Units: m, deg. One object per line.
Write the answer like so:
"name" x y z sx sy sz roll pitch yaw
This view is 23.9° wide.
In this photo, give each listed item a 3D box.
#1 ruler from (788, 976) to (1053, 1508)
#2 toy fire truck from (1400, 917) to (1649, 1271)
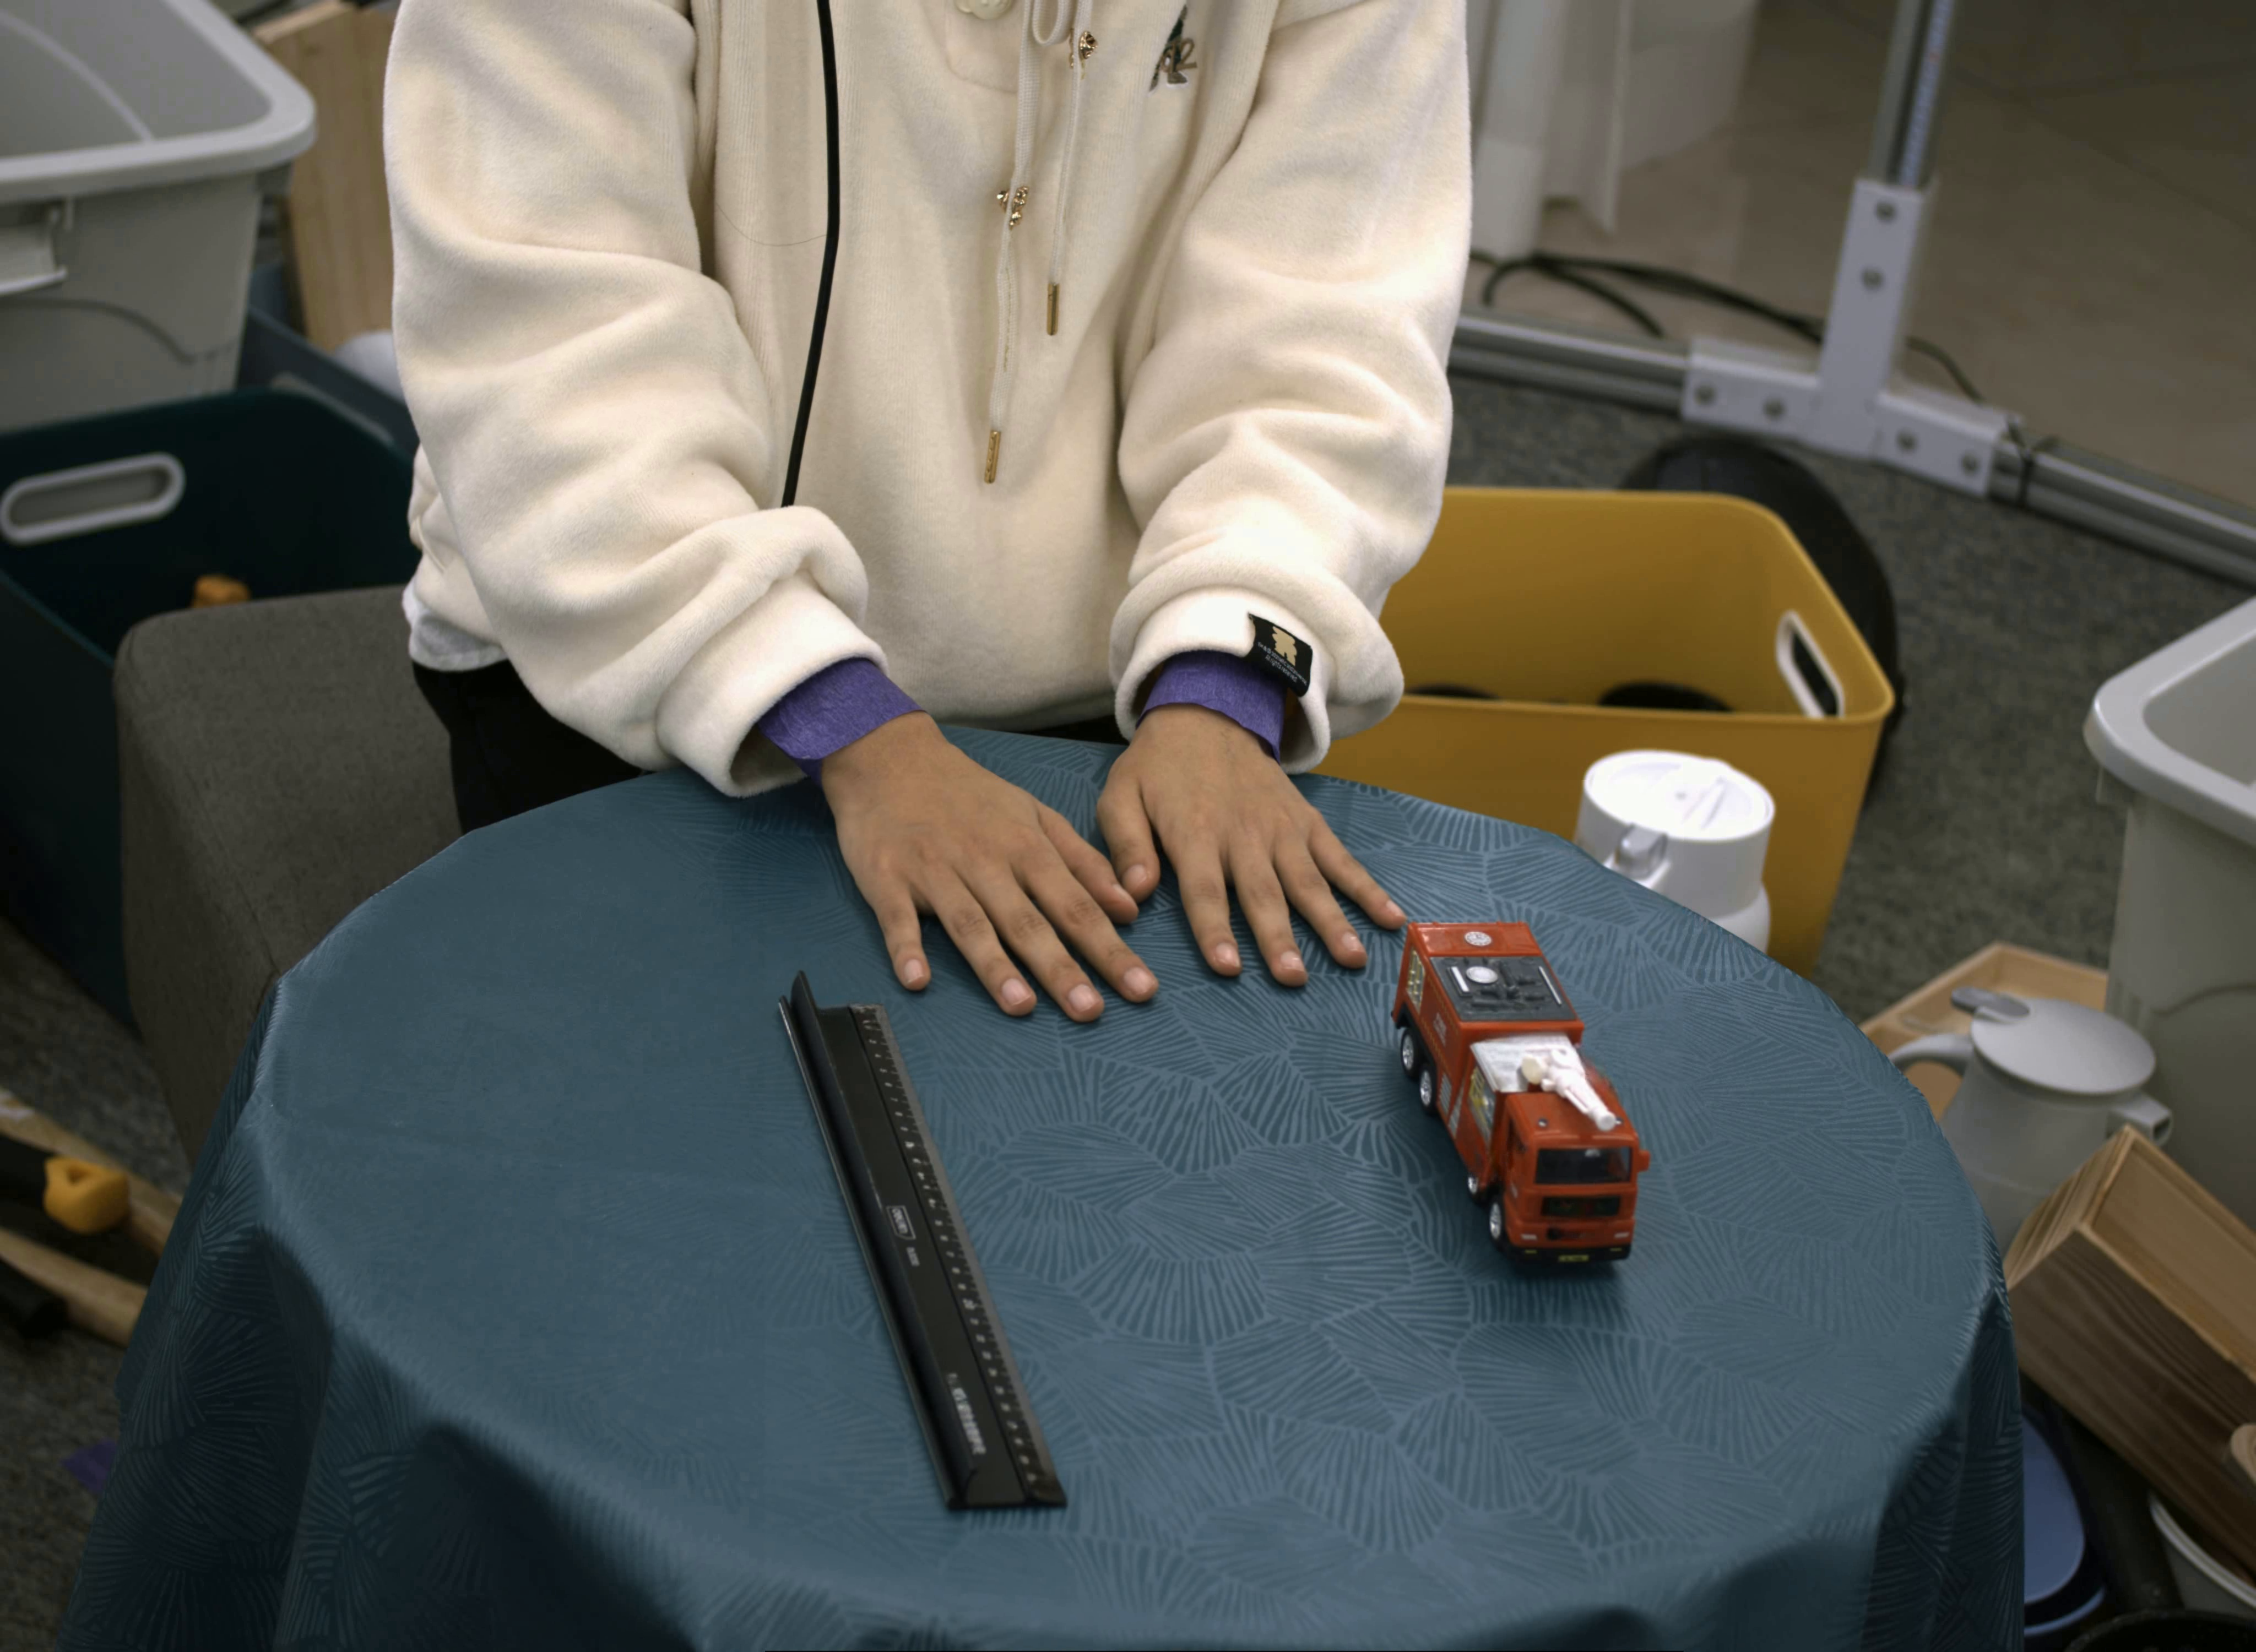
"ruler" -0.070 0.131 1.755 0.039 0.017 0.315 3 26 -15
"toy fire truck" 0.135 0.091 1.833 0.053 0.070 0.169 0 26 -13
